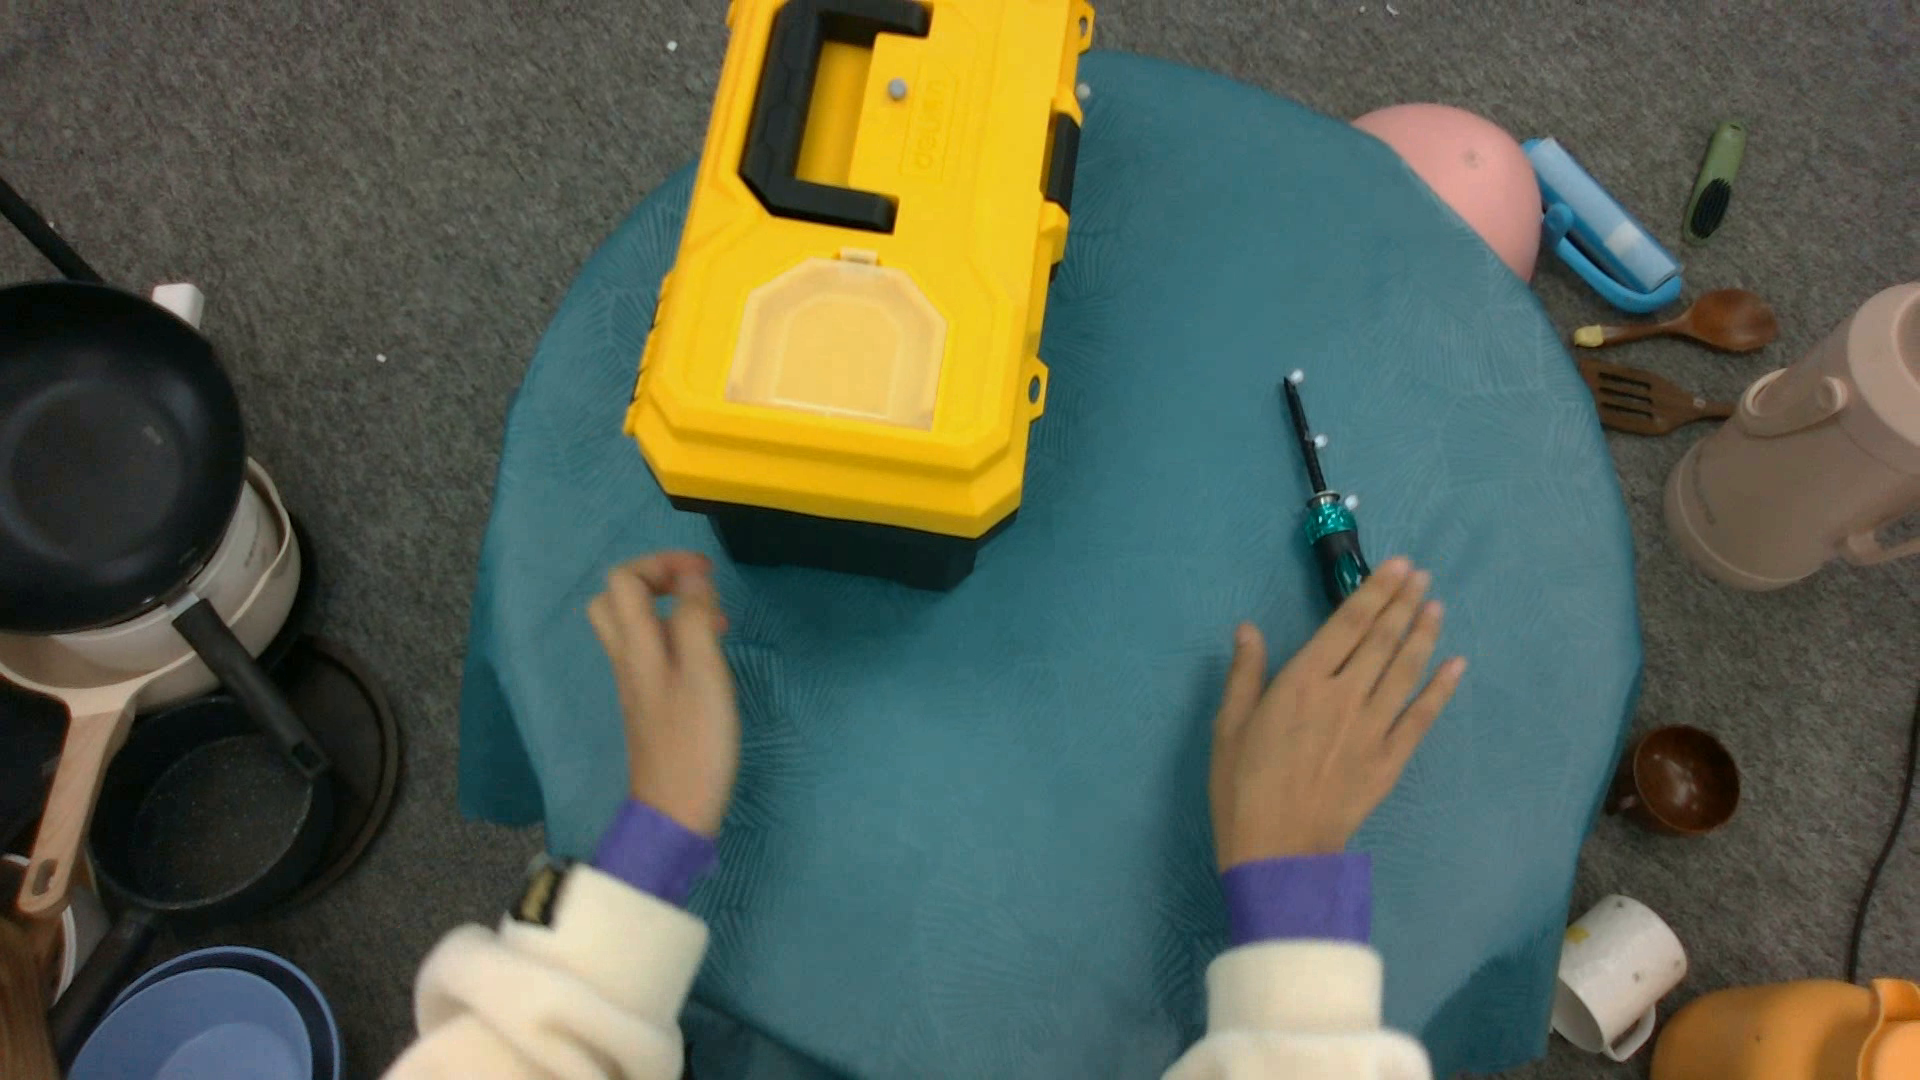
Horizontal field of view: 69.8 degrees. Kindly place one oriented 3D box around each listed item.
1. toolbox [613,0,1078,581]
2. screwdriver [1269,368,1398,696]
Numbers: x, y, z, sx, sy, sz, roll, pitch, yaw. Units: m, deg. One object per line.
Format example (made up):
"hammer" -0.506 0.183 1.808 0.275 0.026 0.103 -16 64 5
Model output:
"toolbox" -0.045 -0.161 0.684 0.181 0.172 0.353 9 67 0
"screwdriver" 0.188 -0.010 0.718 0.034 0.033 0.190 -8 63 -7
